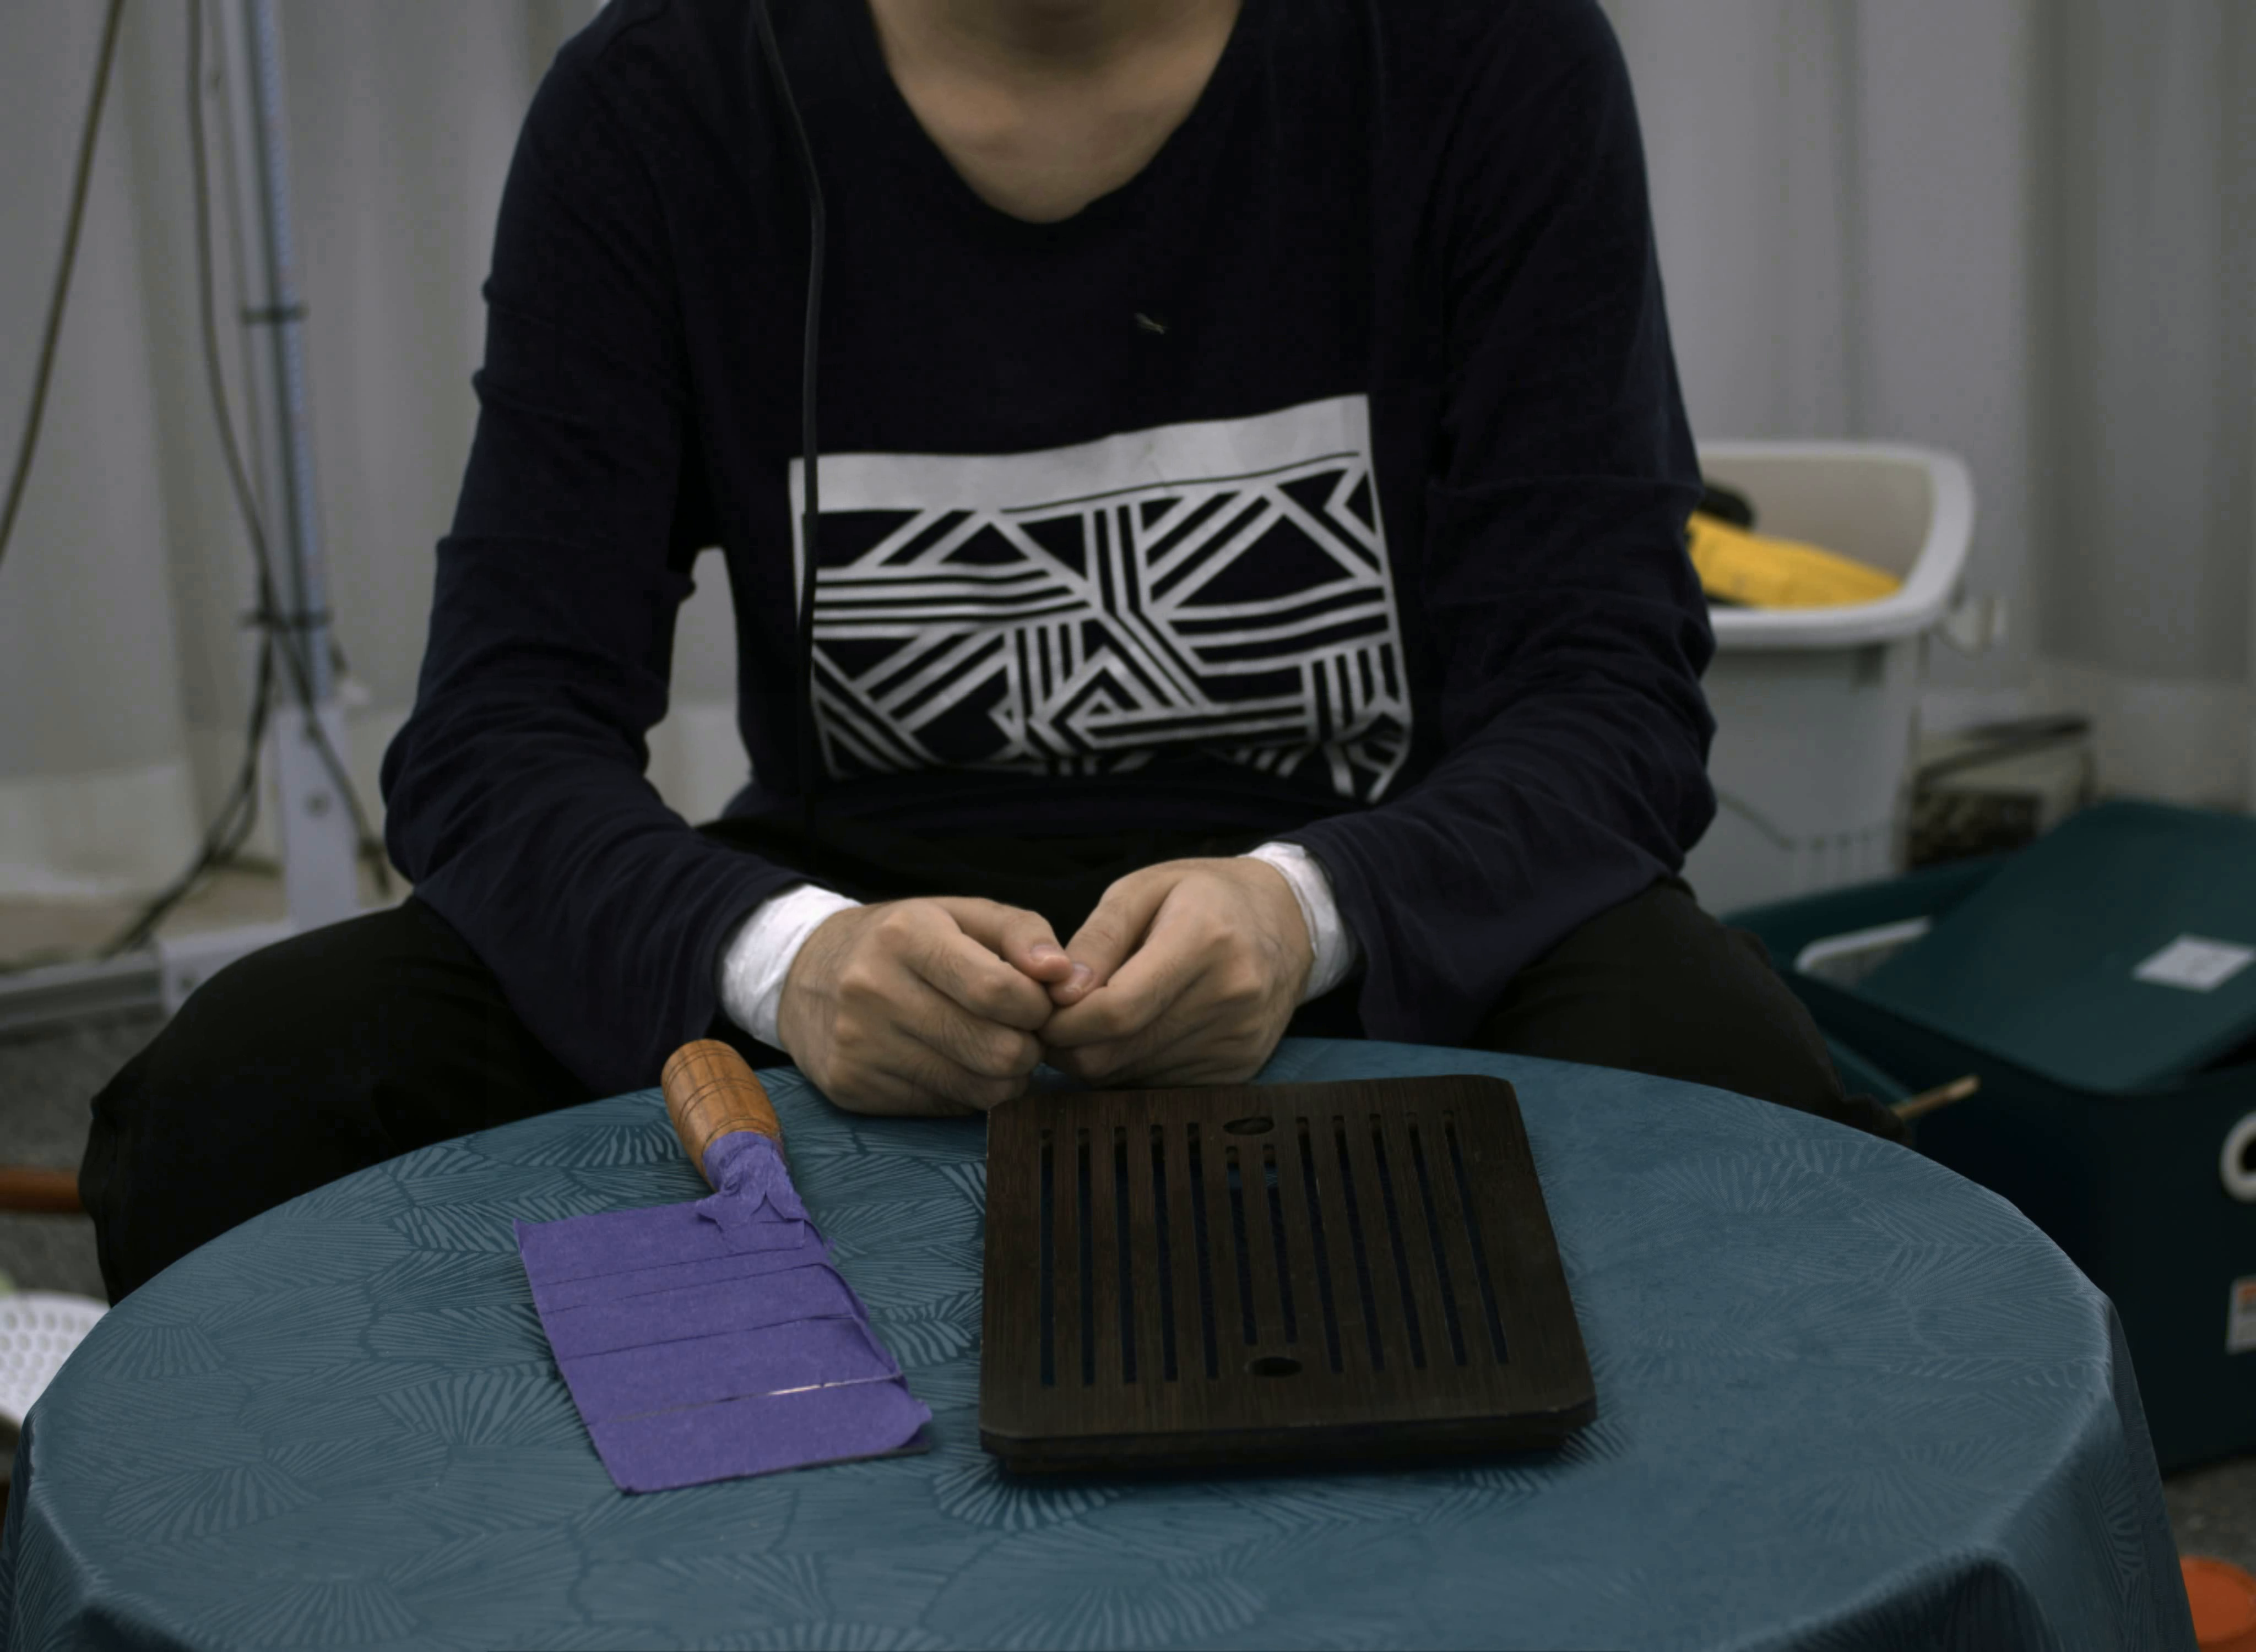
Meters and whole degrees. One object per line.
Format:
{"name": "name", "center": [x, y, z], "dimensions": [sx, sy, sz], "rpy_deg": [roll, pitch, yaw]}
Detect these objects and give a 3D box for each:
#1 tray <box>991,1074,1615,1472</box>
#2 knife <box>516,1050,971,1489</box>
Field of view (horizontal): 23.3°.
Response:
{"name": "tray", "center": [0.045, 0.129, 1.618], "dimensions": [0.169, 0.018, 0.308], "rpy_deg": [-3, 14, 0]}
{"name": "knife", "center": [-0.132, 0.129, 1.638], "dimensions": [0.103, 0.032, 0.318], "rpy_deg": [-6, 16, -14]}
